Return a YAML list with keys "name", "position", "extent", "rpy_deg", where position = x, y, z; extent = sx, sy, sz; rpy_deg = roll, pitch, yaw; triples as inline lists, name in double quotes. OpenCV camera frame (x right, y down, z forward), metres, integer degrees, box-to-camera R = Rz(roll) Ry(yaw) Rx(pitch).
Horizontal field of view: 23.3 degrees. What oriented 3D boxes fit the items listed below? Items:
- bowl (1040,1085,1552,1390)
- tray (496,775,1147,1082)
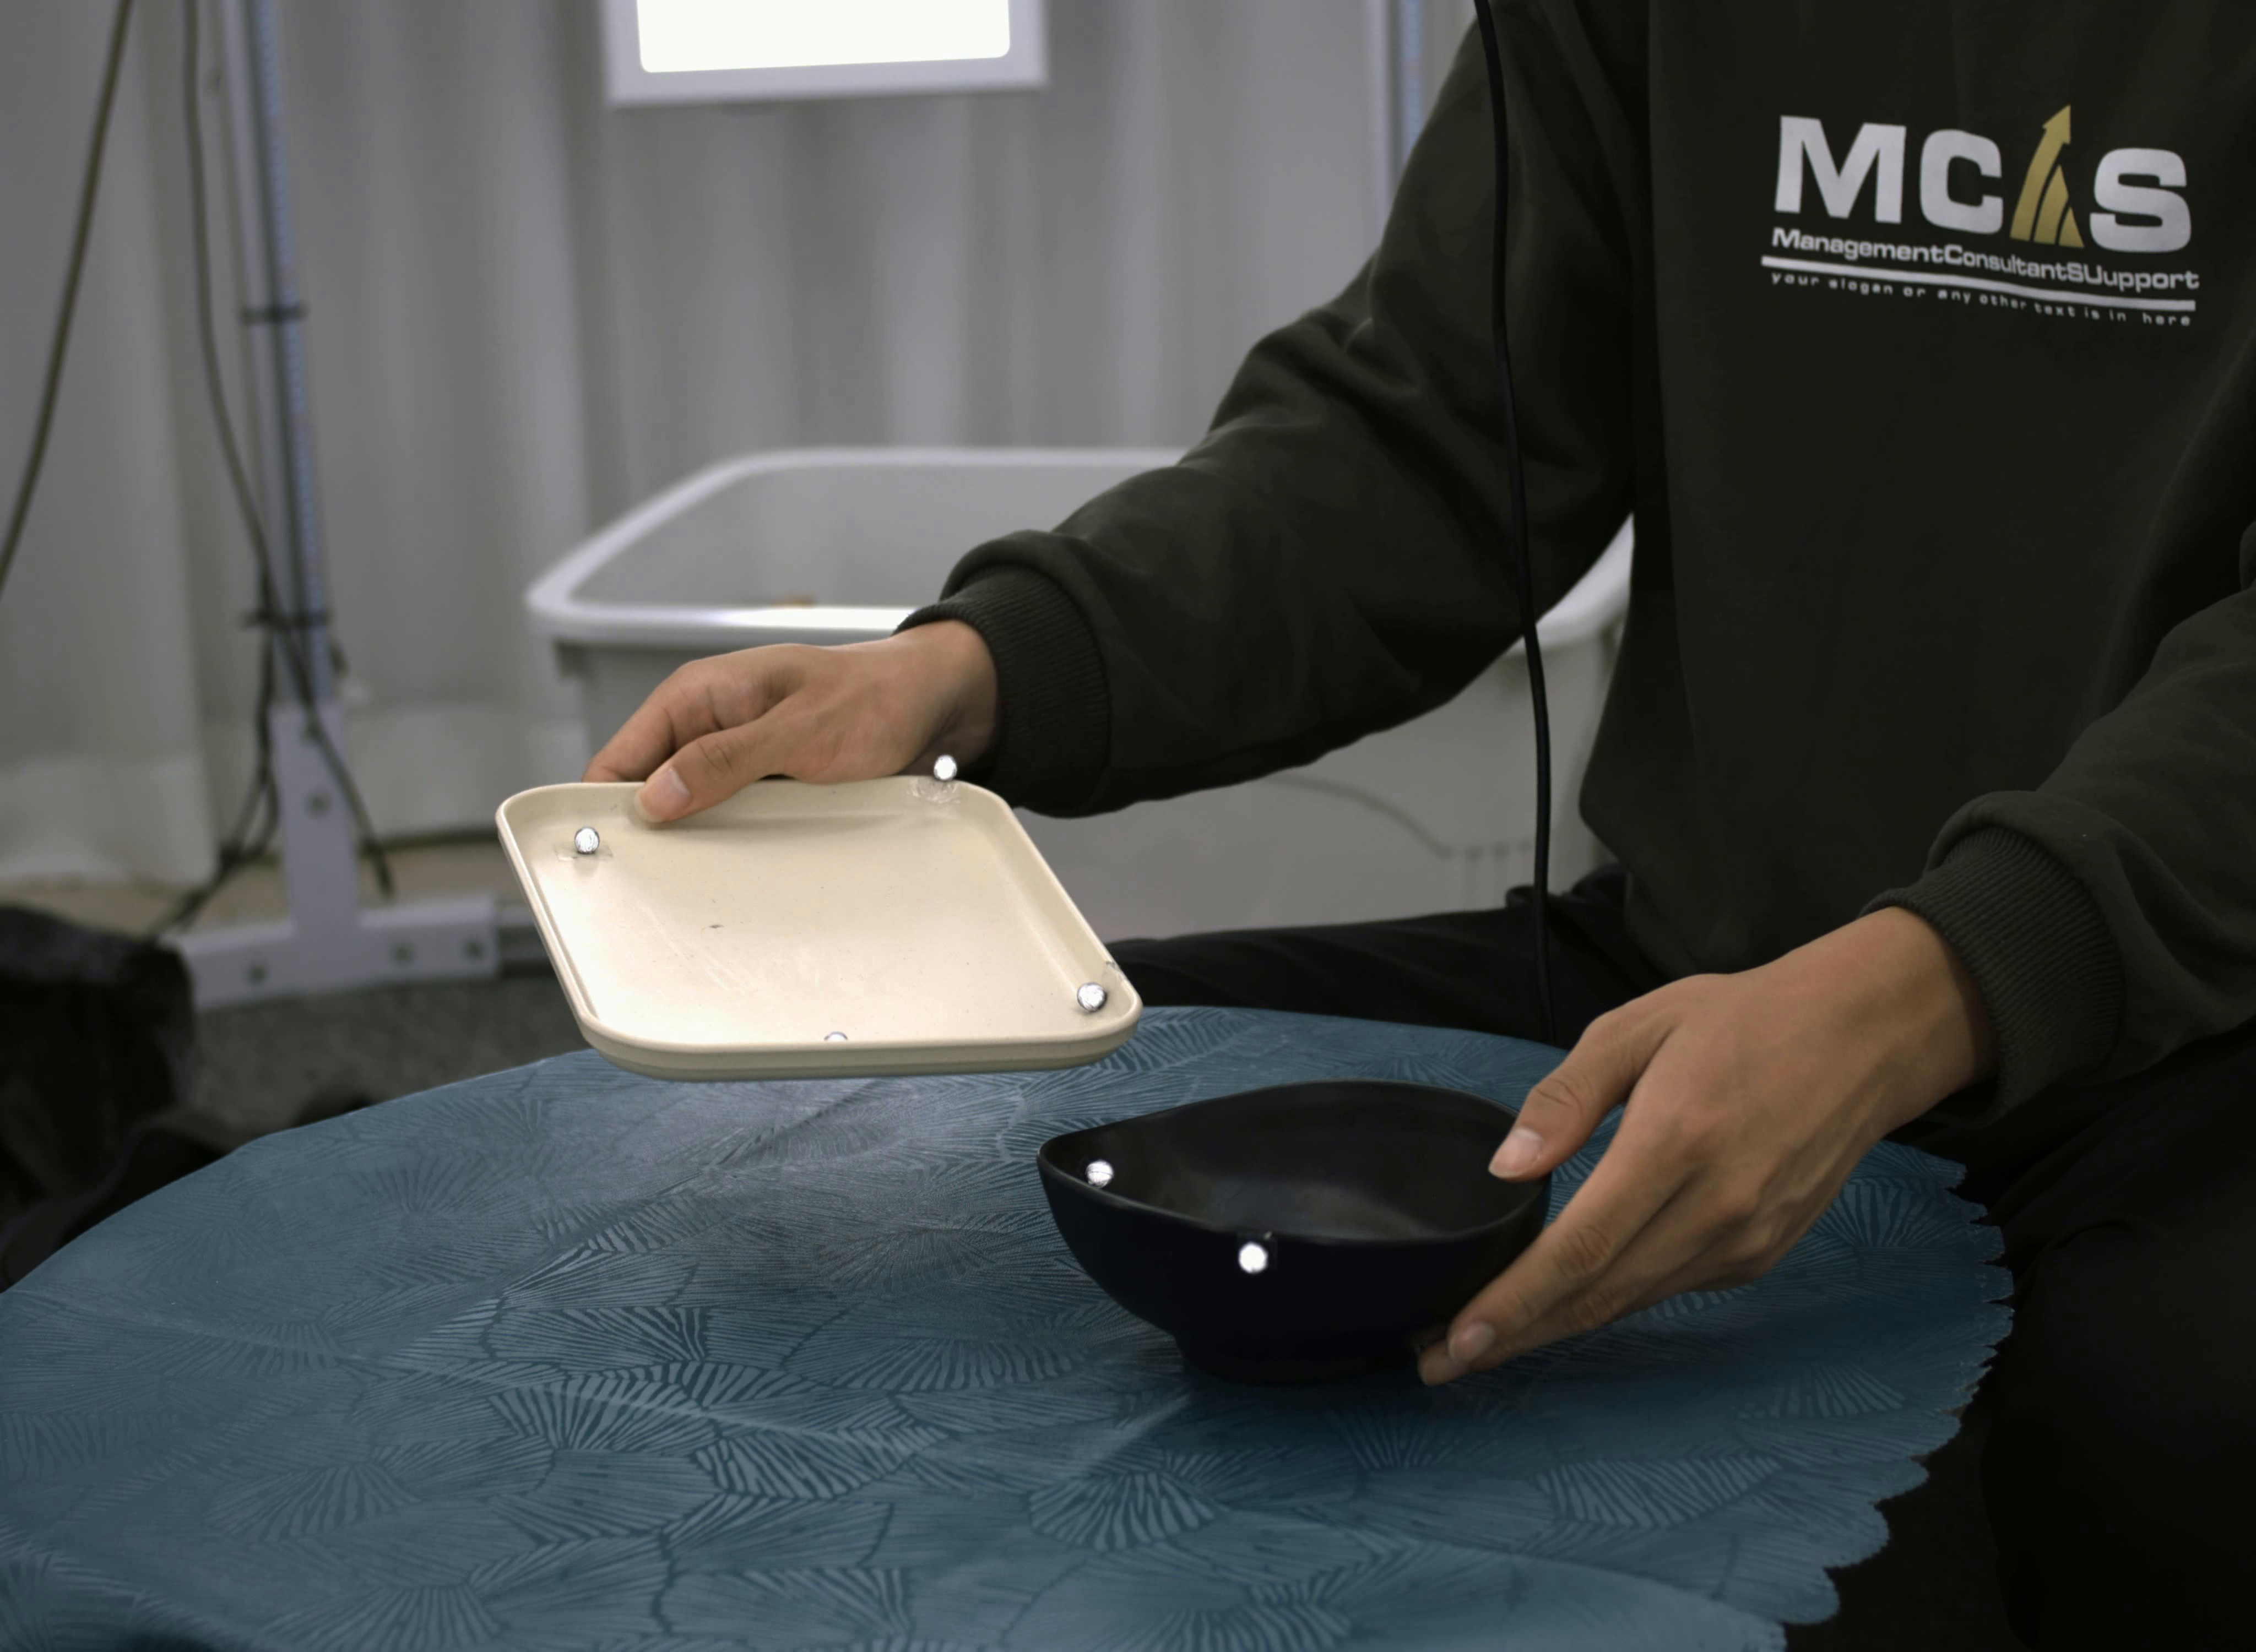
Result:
- name: "bowl"
  position: [0.047, 0.121, 1.567]
  extent: [0.137, 0.066, 0.171]
  rpy_deg: [-11, 15, -34]
- name: "tray"
  position: [-0.099, 0.030, 1.703]
  extent: [0.170, 0.017, 0.242]
  rpy_deg: [-2, 19, -14]
